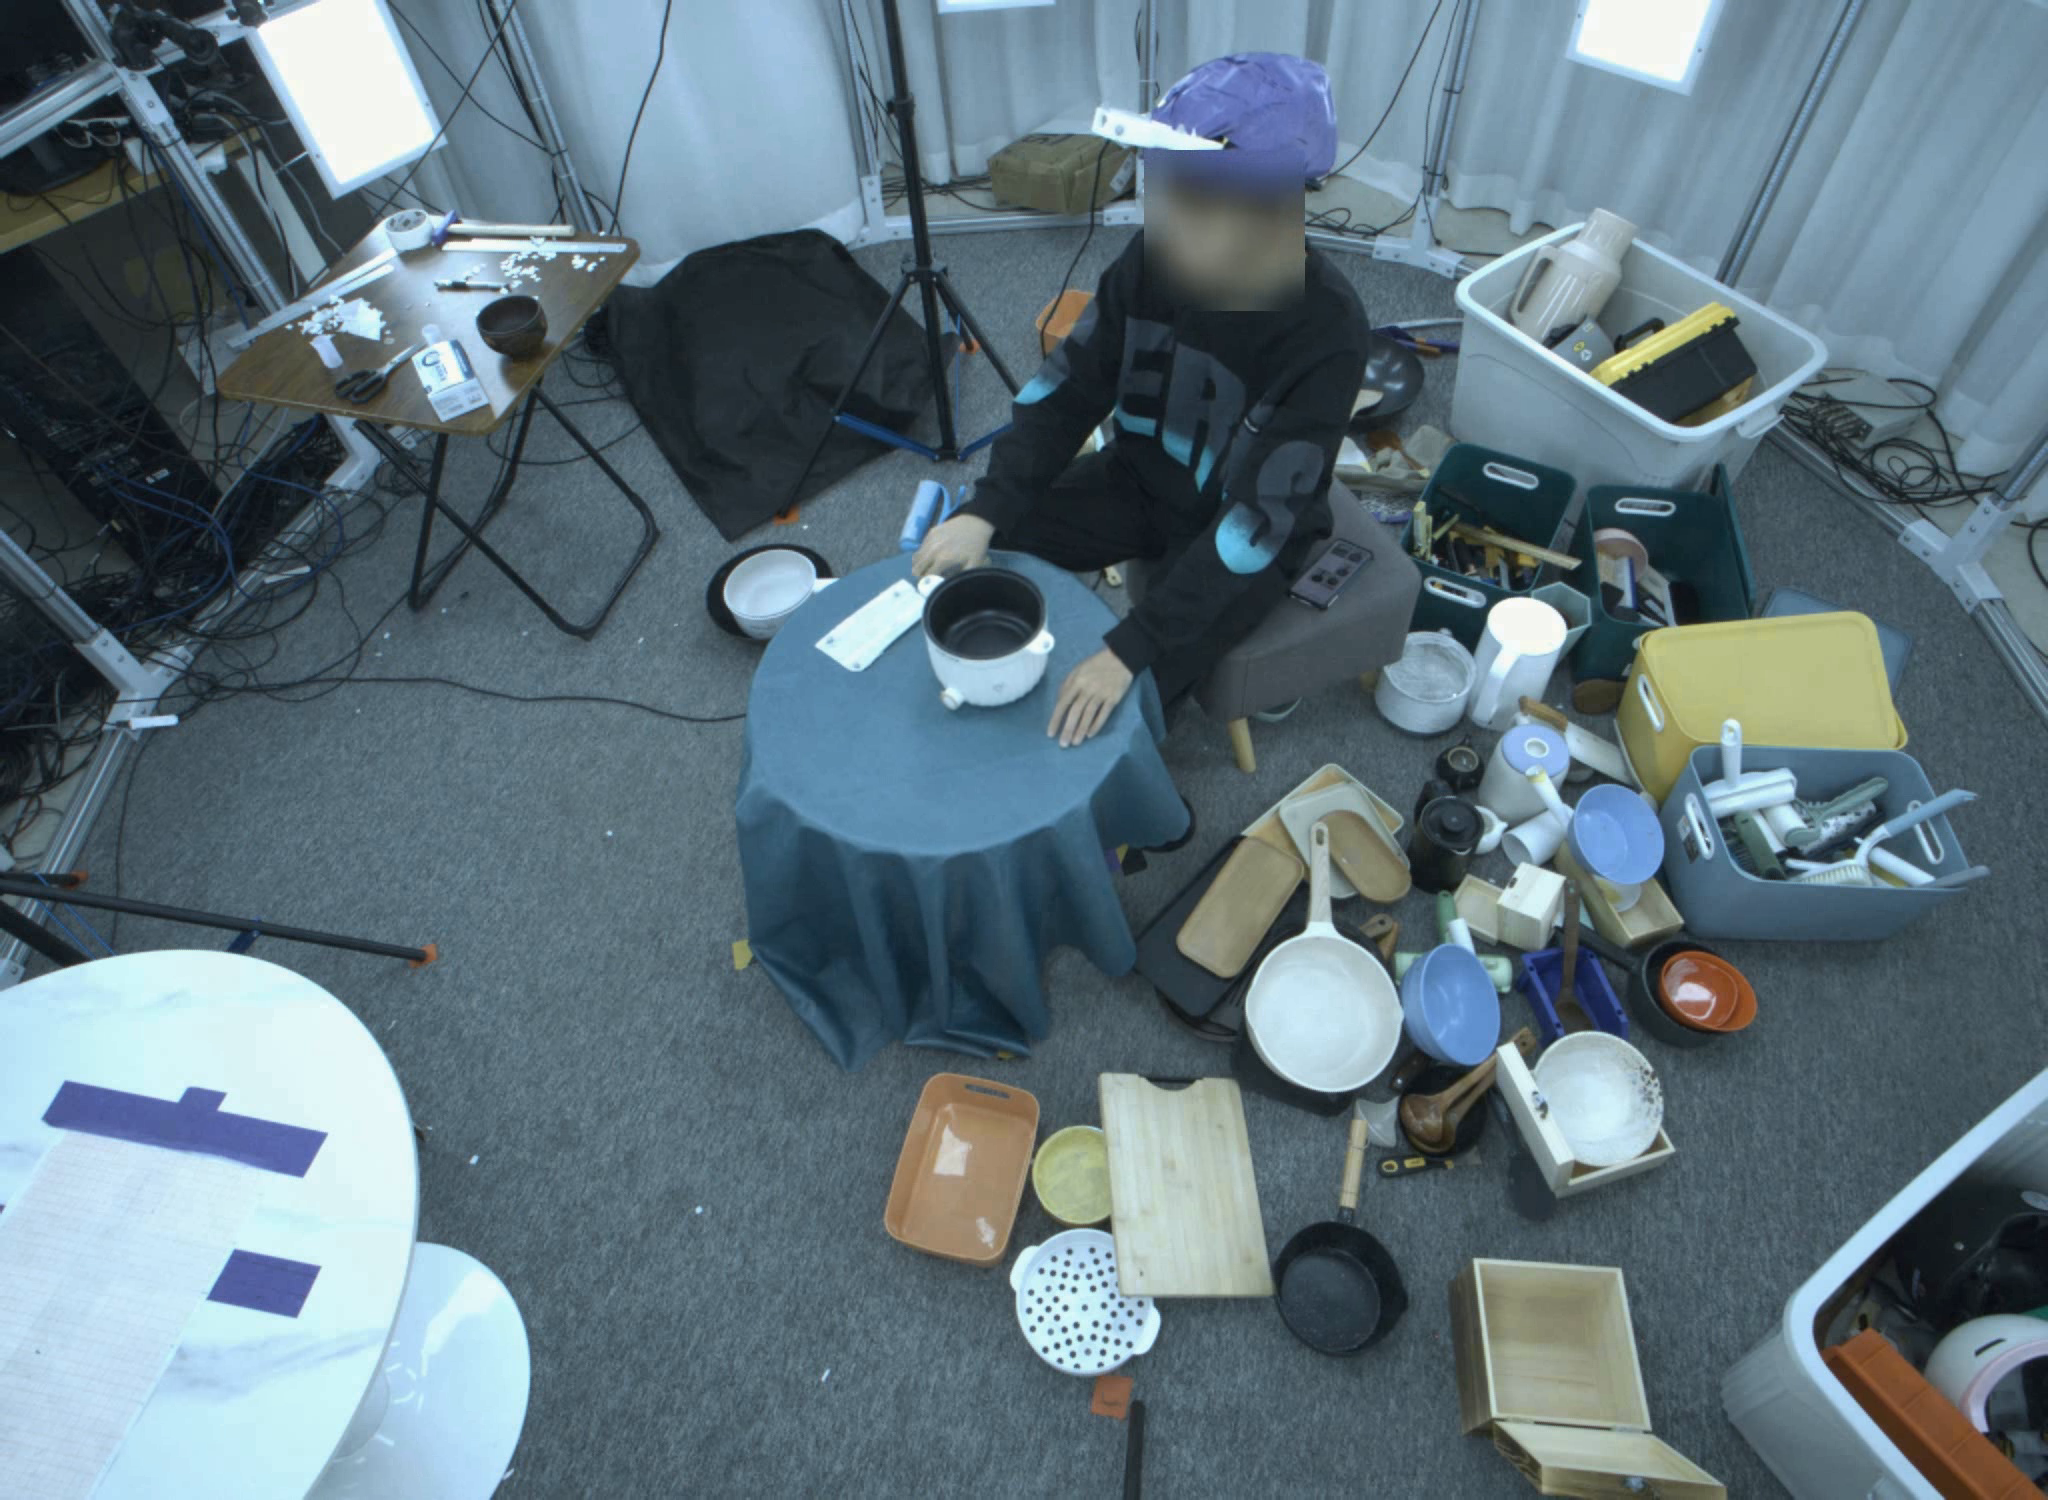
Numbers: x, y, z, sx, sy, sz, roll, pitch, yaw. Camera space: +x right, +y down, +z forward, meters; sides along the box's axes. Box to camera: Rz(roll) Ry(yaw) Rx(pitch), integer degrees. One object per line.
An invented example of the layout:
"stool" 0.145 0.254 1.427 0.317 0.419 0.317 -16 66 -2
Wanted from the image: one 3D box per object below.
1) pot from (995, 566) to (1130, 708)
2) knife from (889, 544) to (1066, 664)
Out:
"pot" 0.053 -0.156 1.810 0.236 0.144 0.192 33 59 24
"knife" -0.064 -0.238 1.947 0.317 0.022 0.112 -34 60 -17
